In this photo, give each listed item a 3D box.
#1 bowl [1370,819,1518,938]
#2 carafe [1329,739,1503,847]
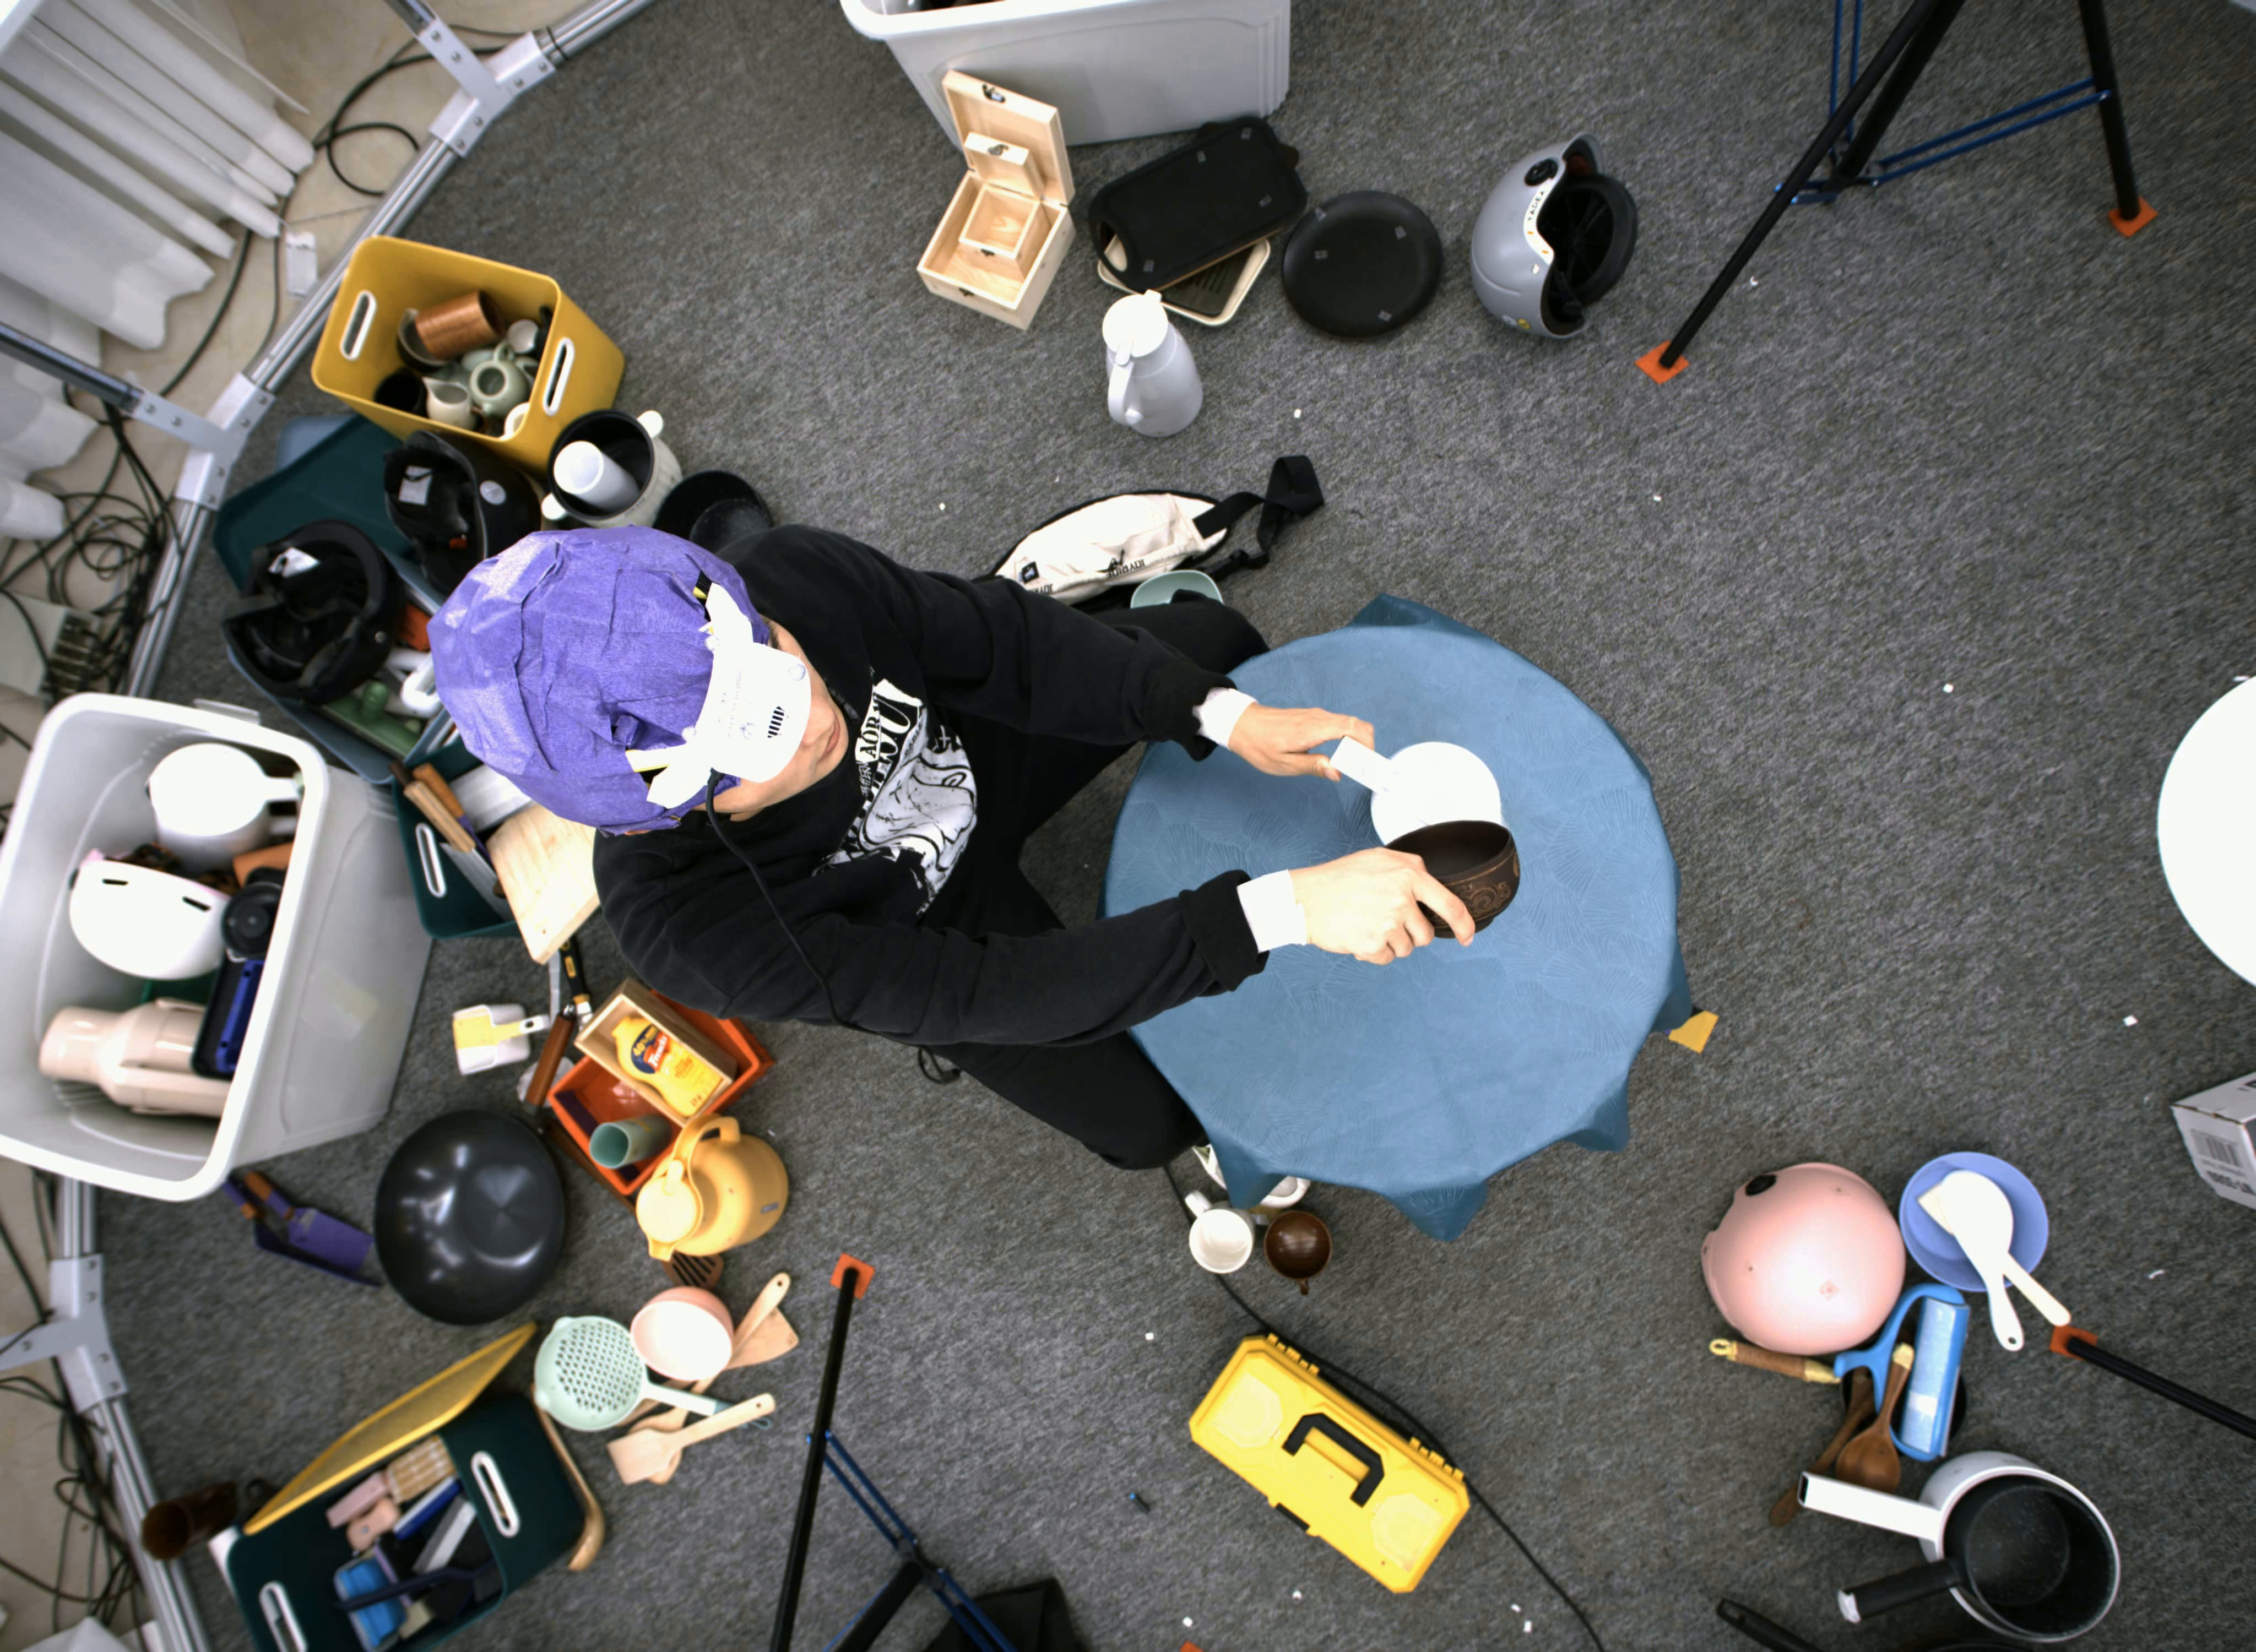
[{"bbox_3d":[0.264,0.048,1.138,0.118,0.115,0.071,-15,111,9],"label":"bowl"},{"bbox_3d":[0.276,-0.030,1.323,0.172,0.266,0.125,29,101,7],"label":"carafe"}]
